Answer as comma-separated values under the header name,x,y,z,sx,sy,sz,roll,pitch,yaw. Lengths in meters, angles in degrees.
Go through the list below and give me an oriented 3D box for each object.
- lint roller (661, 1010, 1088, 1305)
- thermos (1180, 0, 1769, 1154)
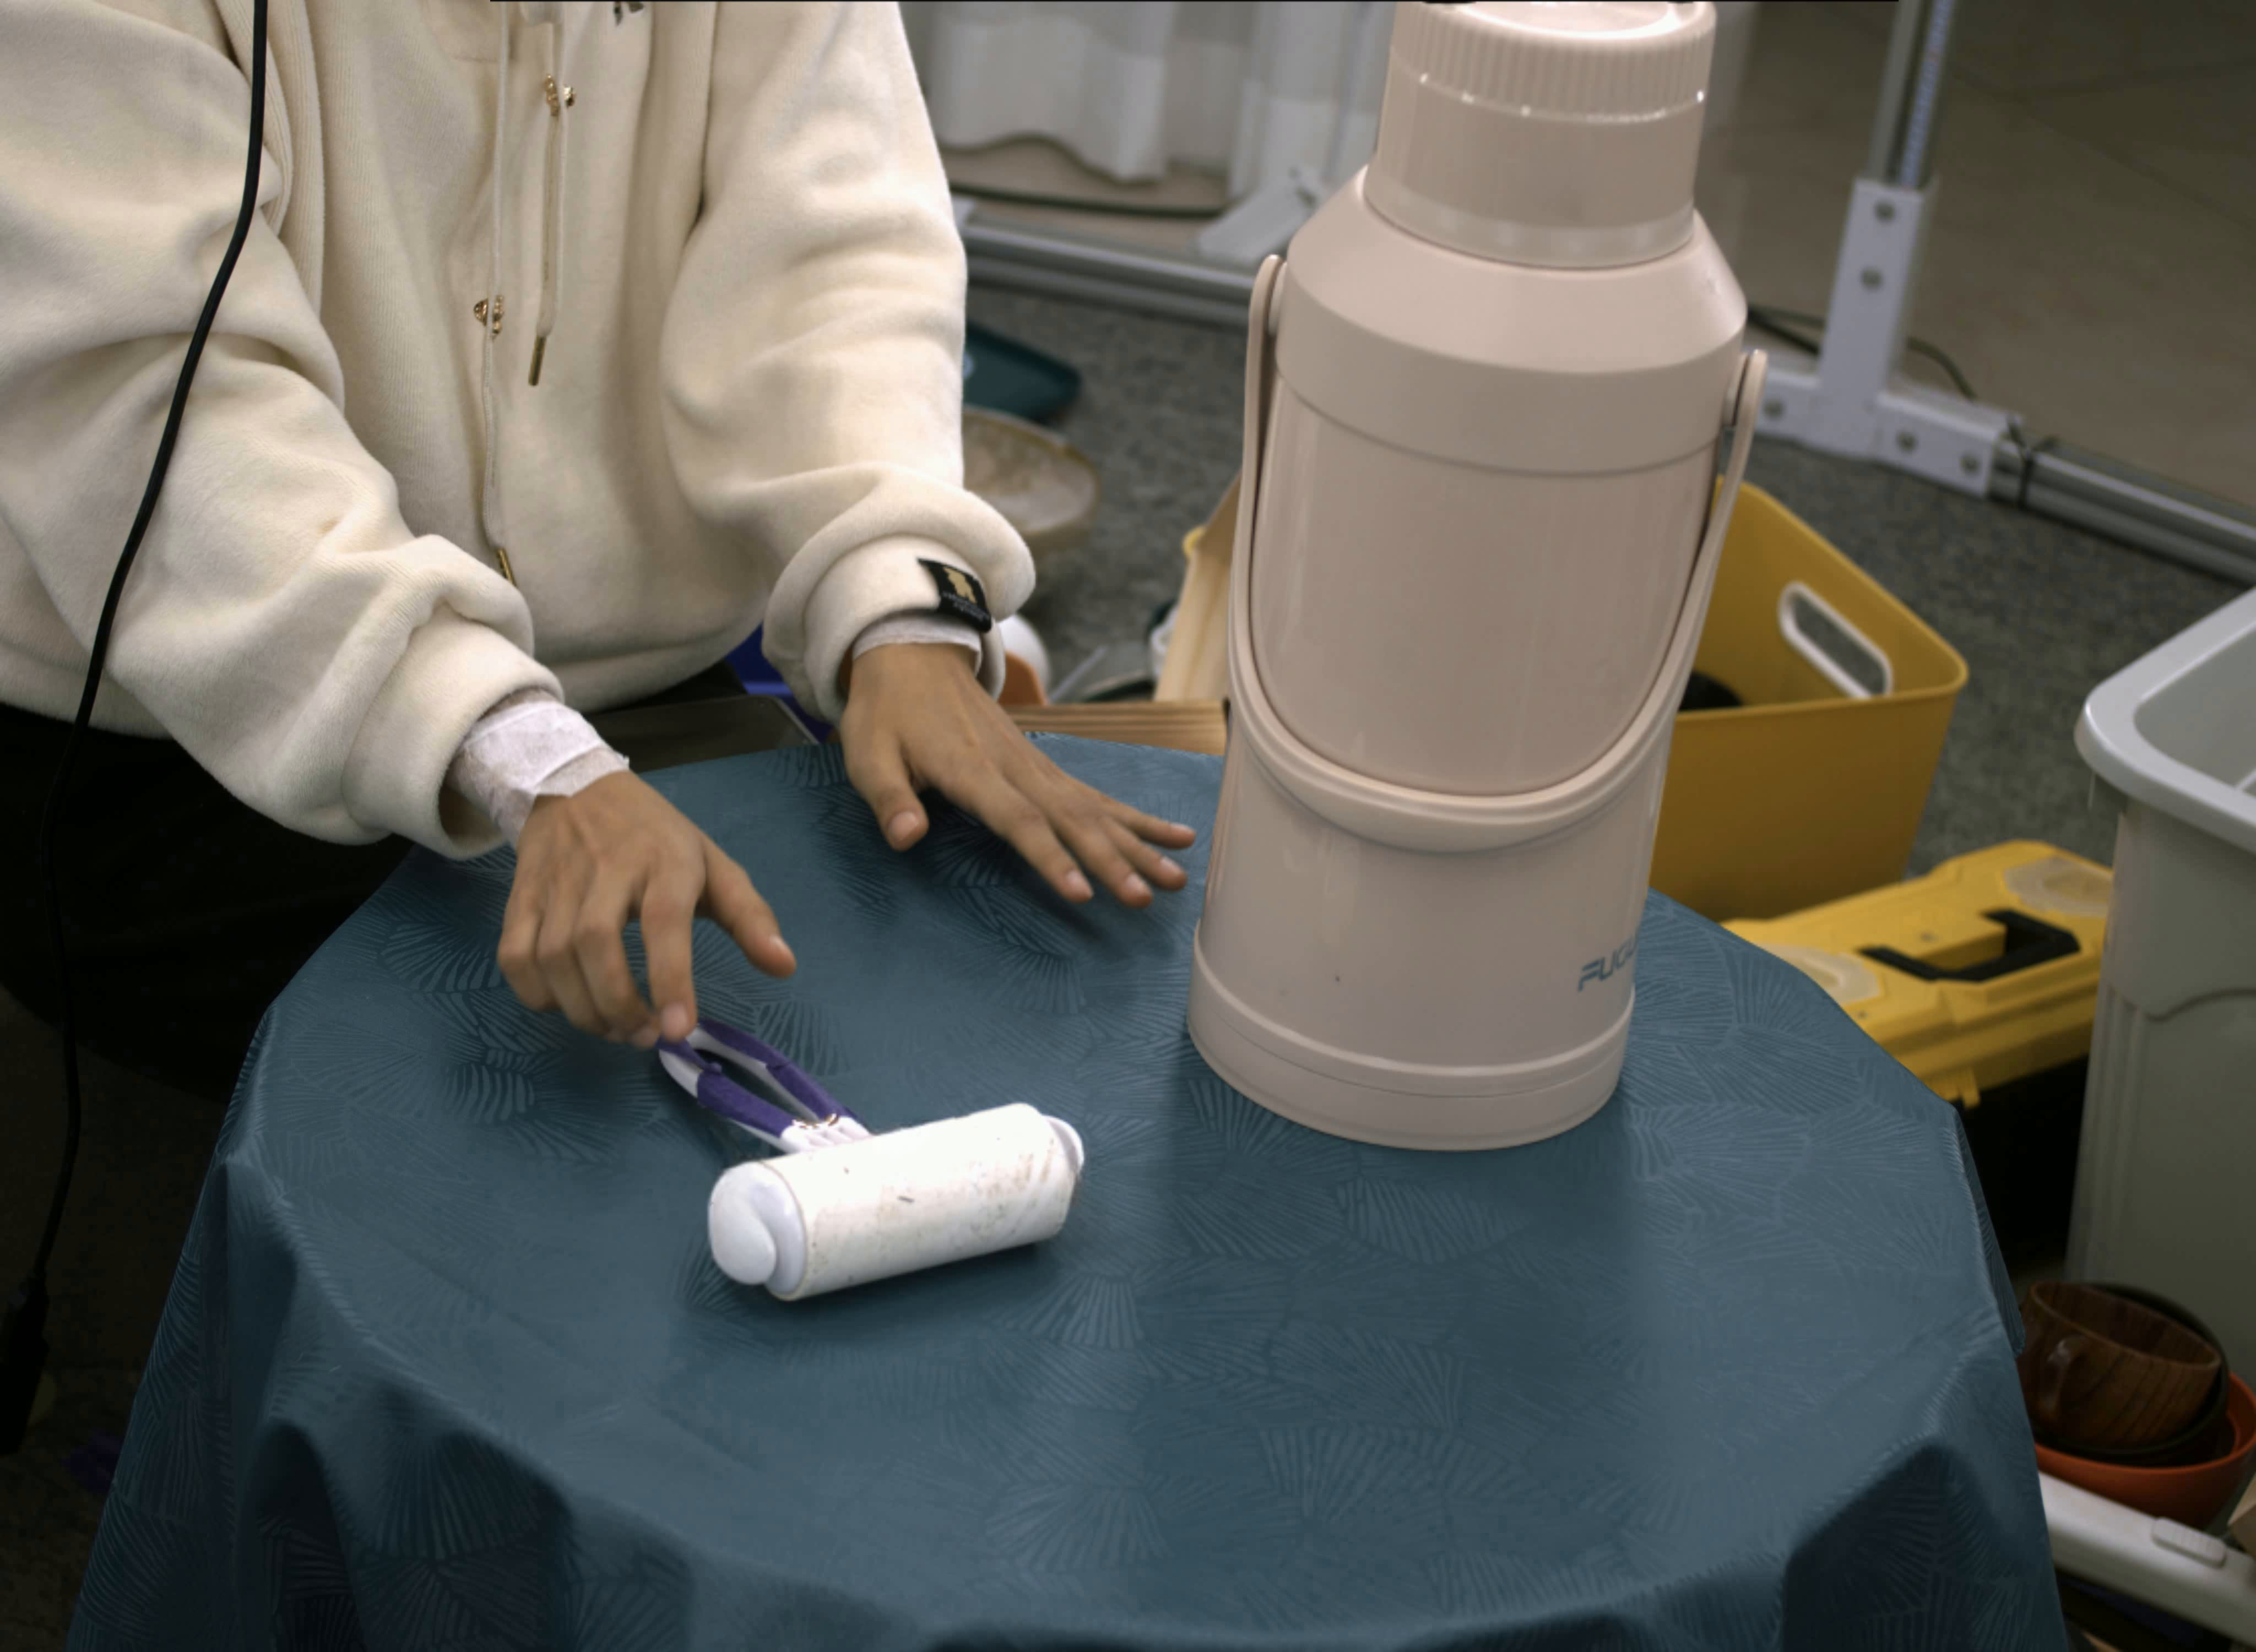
name,x,y,z,sx,sy,sz,roll,pitch,yaw
lint roller,-0.105,0.093,1.786,0.132,0.050,0.182,-11,34,-28
thermos,0.124,-0.103,1.839,0.175,0.405,0.207,12,27,11
